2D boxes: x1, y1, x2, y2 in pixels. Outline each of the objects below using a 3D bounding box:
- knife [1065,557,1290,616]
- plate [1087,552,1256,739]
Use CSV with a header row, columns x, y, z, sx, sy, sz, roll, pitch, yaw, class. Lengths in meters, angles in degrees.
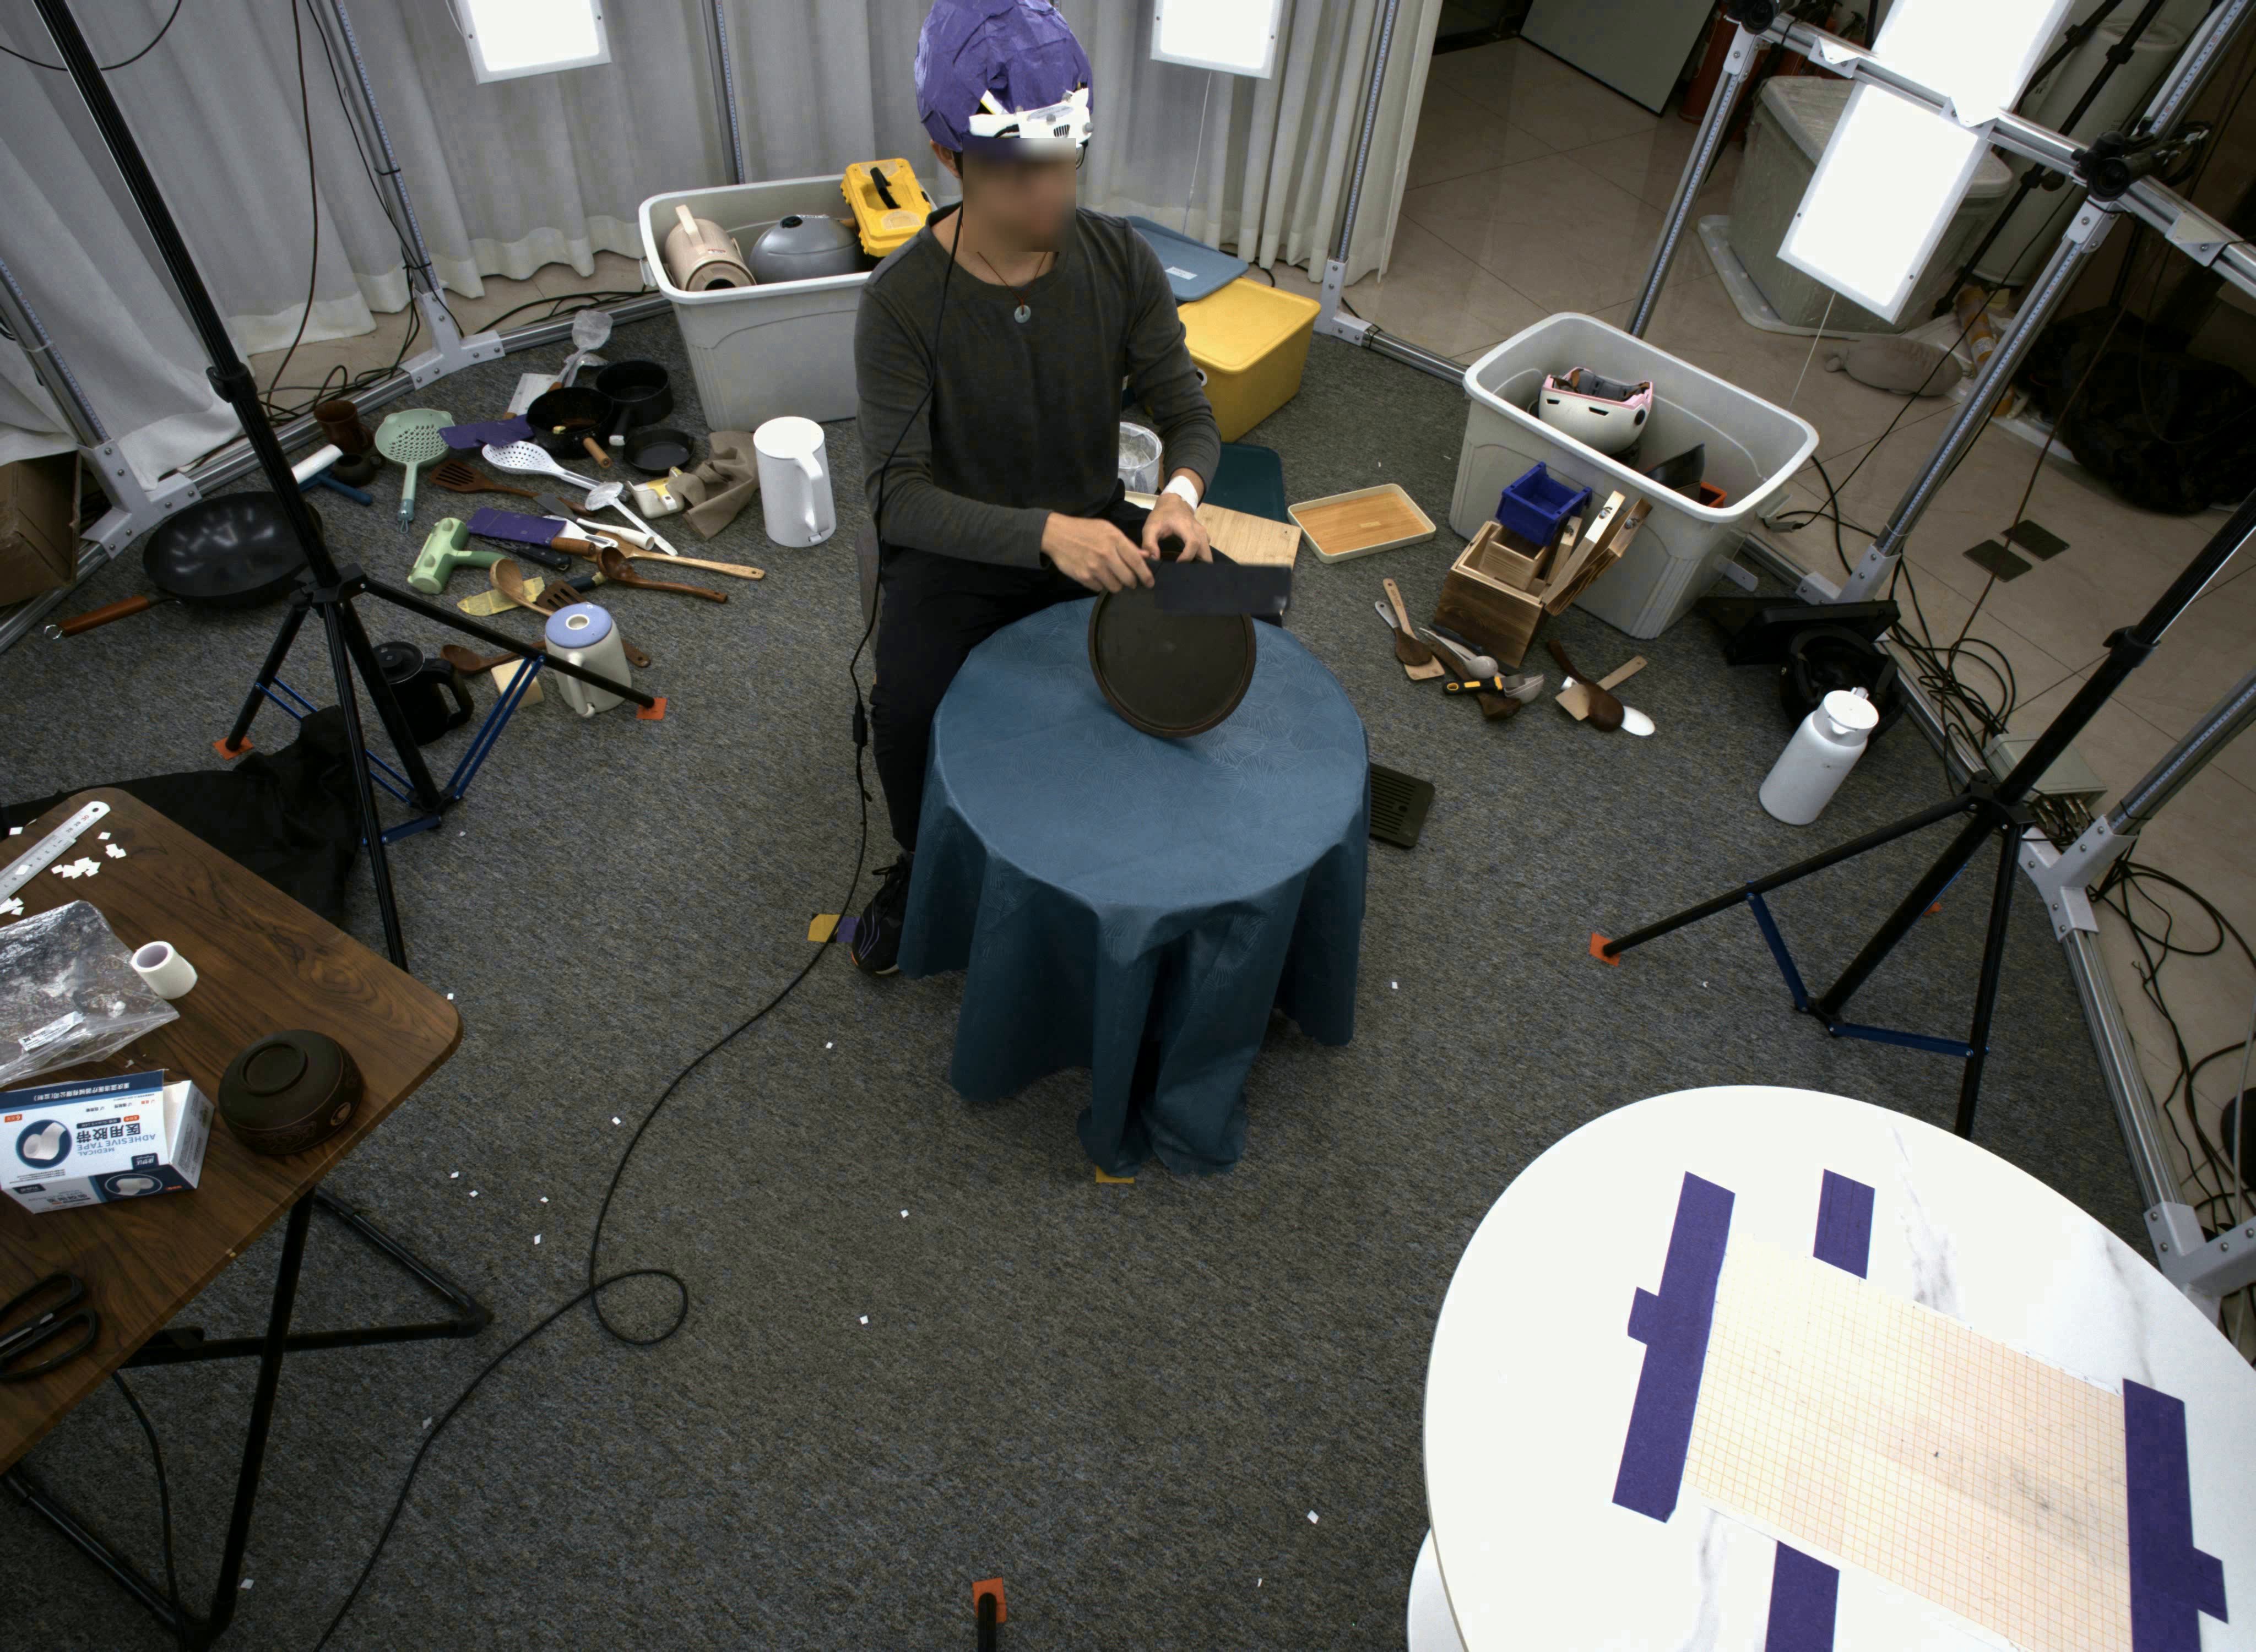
x,y,z,sx,sy,sz,roll,pitch,yaw,class
0.064,-0.315,1.684,0.303,0.080,0.021,9,17,13,knife
0.058,-0.245,1.745,0.257,0.251,0.029,30,25,20,plate
